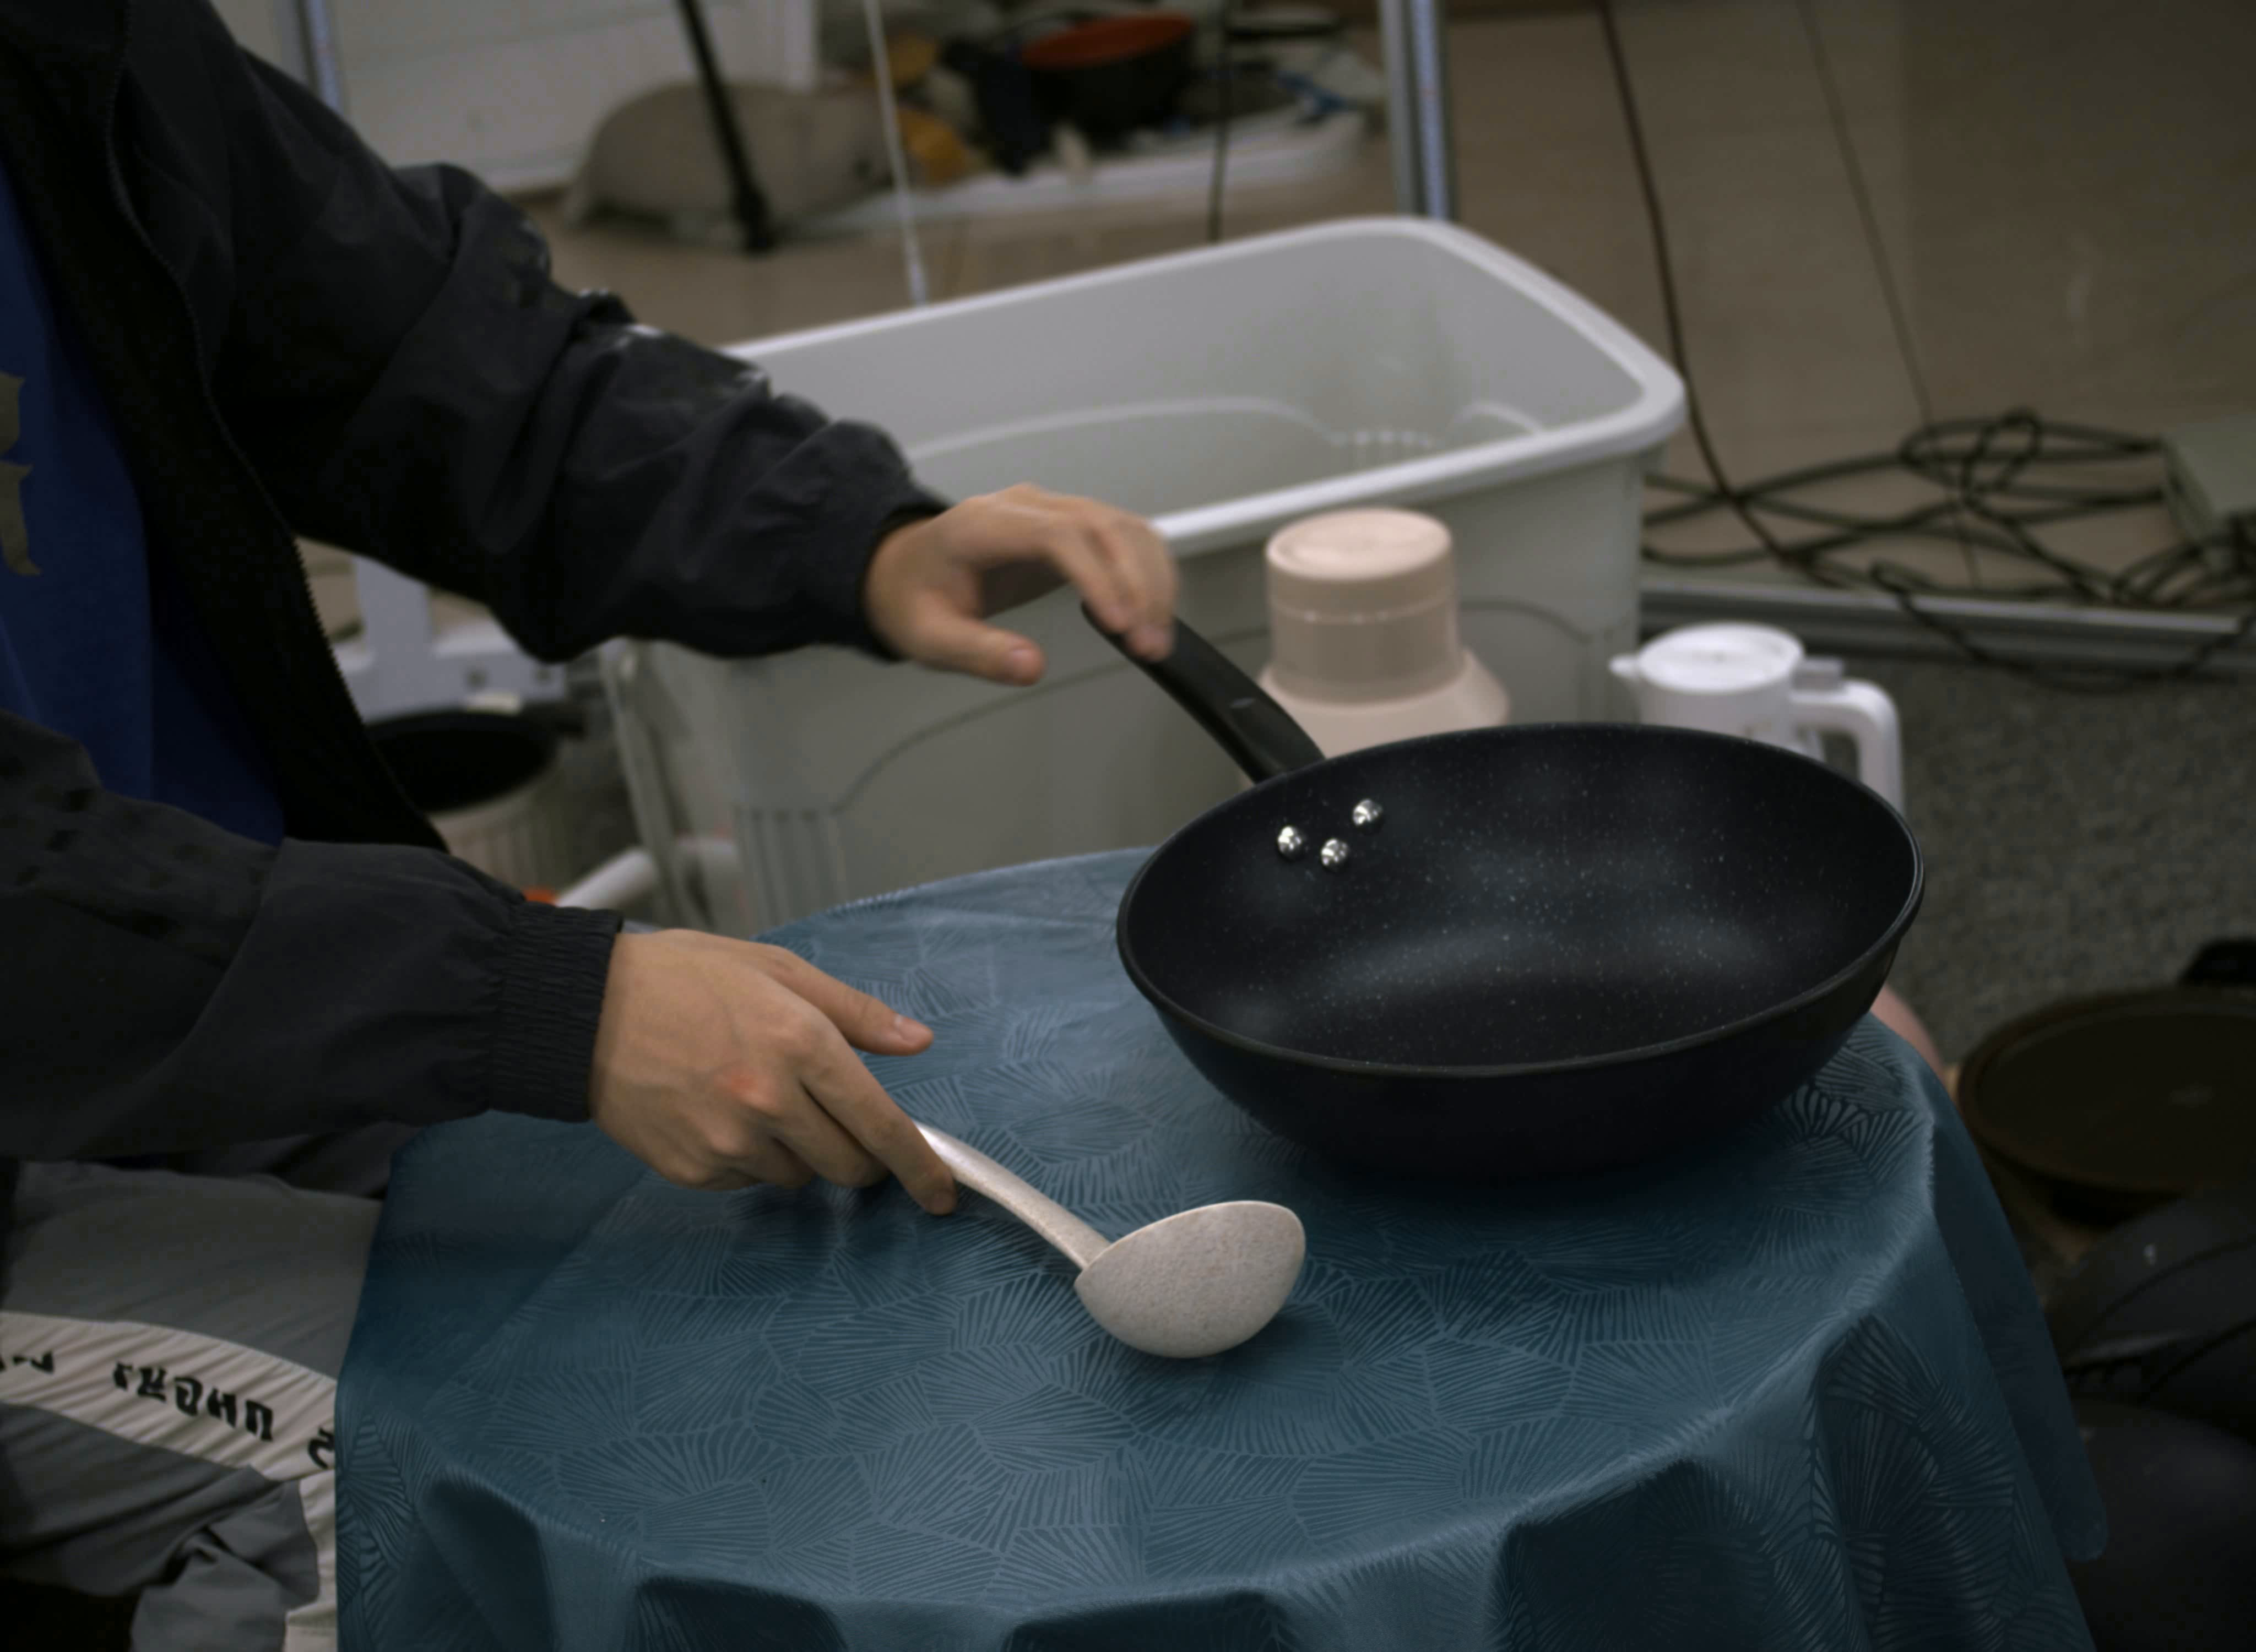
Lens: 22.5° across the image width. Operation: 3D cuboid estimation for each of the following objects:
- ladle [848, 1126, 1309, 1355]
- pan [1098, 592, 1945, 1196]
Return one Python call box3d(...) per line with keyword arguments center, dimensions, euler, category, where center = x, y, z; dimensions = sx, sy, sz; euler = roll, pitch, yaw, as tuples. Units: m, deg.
box3d(center=(-0.032, 0.126, 2.104), dimensions=(0.089, 0.070, 0.272), euler=(-4, 18, -31), category="ladle")
box3d(center=(0.115, 0.027, 2.233), dimensions=(0.308, 0.113, 0.471), euler=(-17, 27, -25), category="pan")
